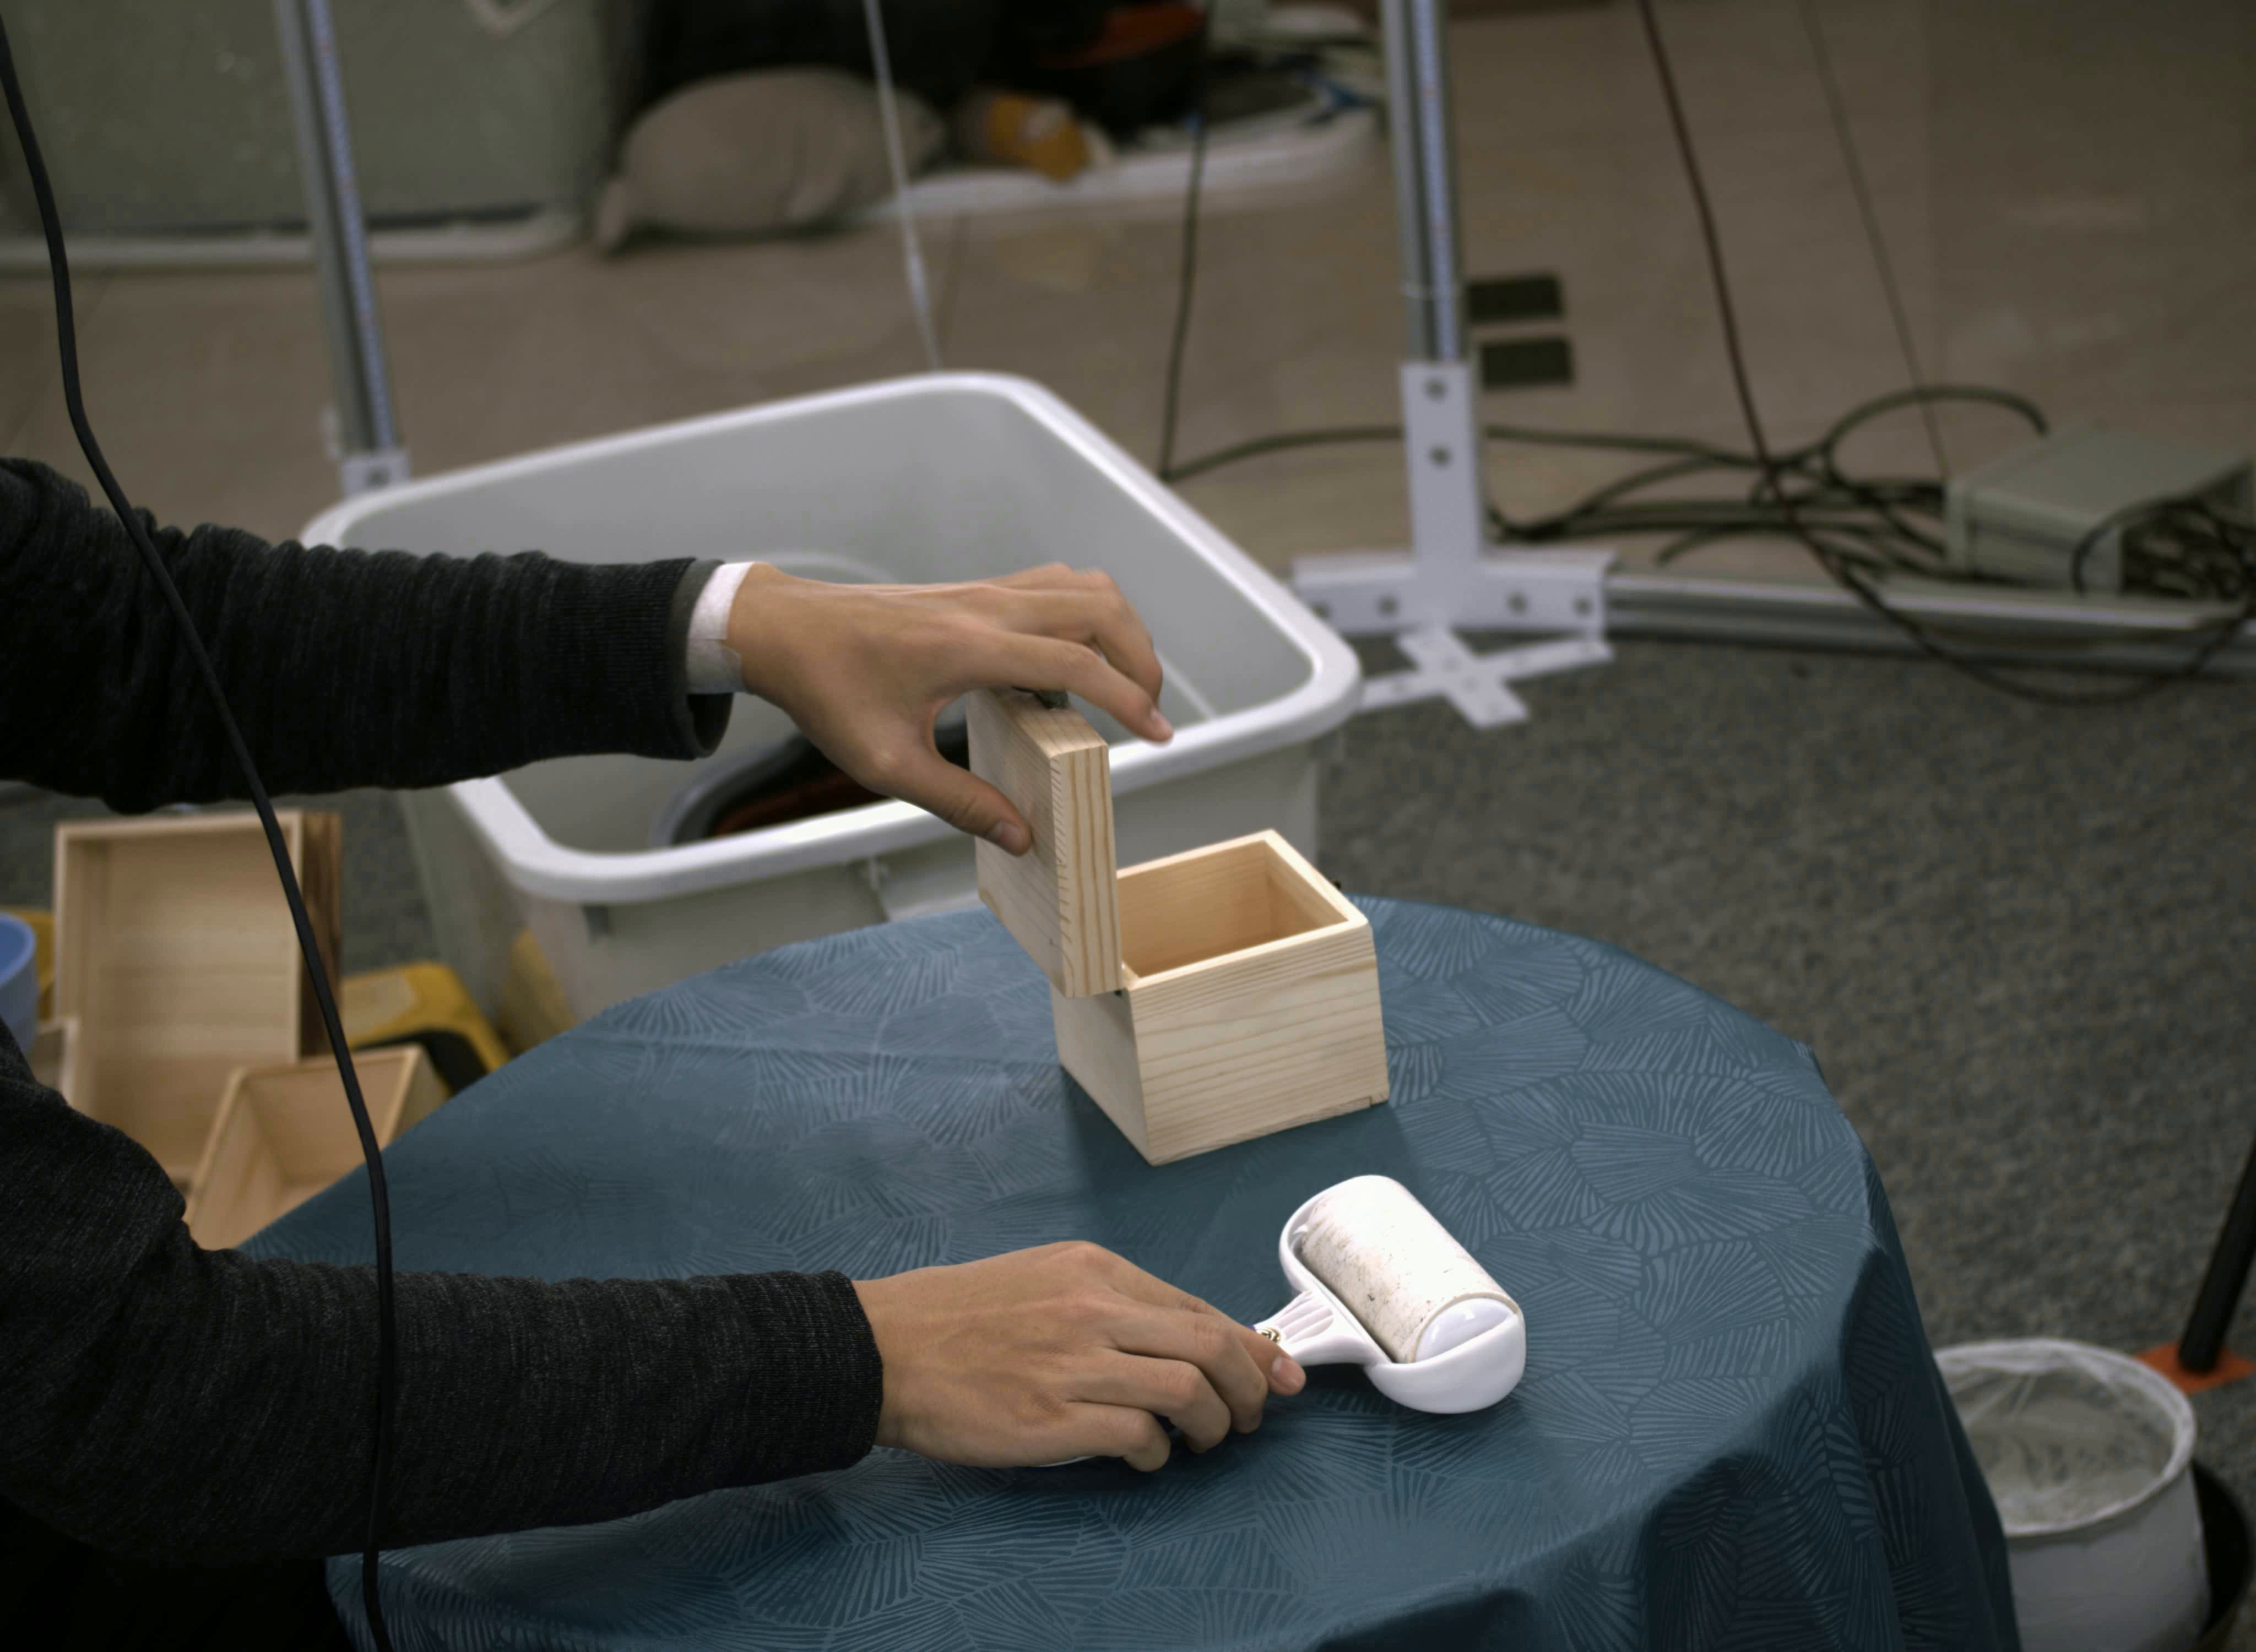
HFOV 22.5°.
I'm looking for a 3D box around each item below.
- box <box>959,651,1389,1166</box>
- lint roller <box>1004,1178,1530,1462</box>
[{"bbox_3d":[0.019,0.021,2.178,0.133,0.187,0.101,-15,27,-16],"label":"box"},{"bbox_3d":[0.039,0.179,1.995,0.180,0.051,0.131,-12,26,-16],"label":"lint roller"}]
